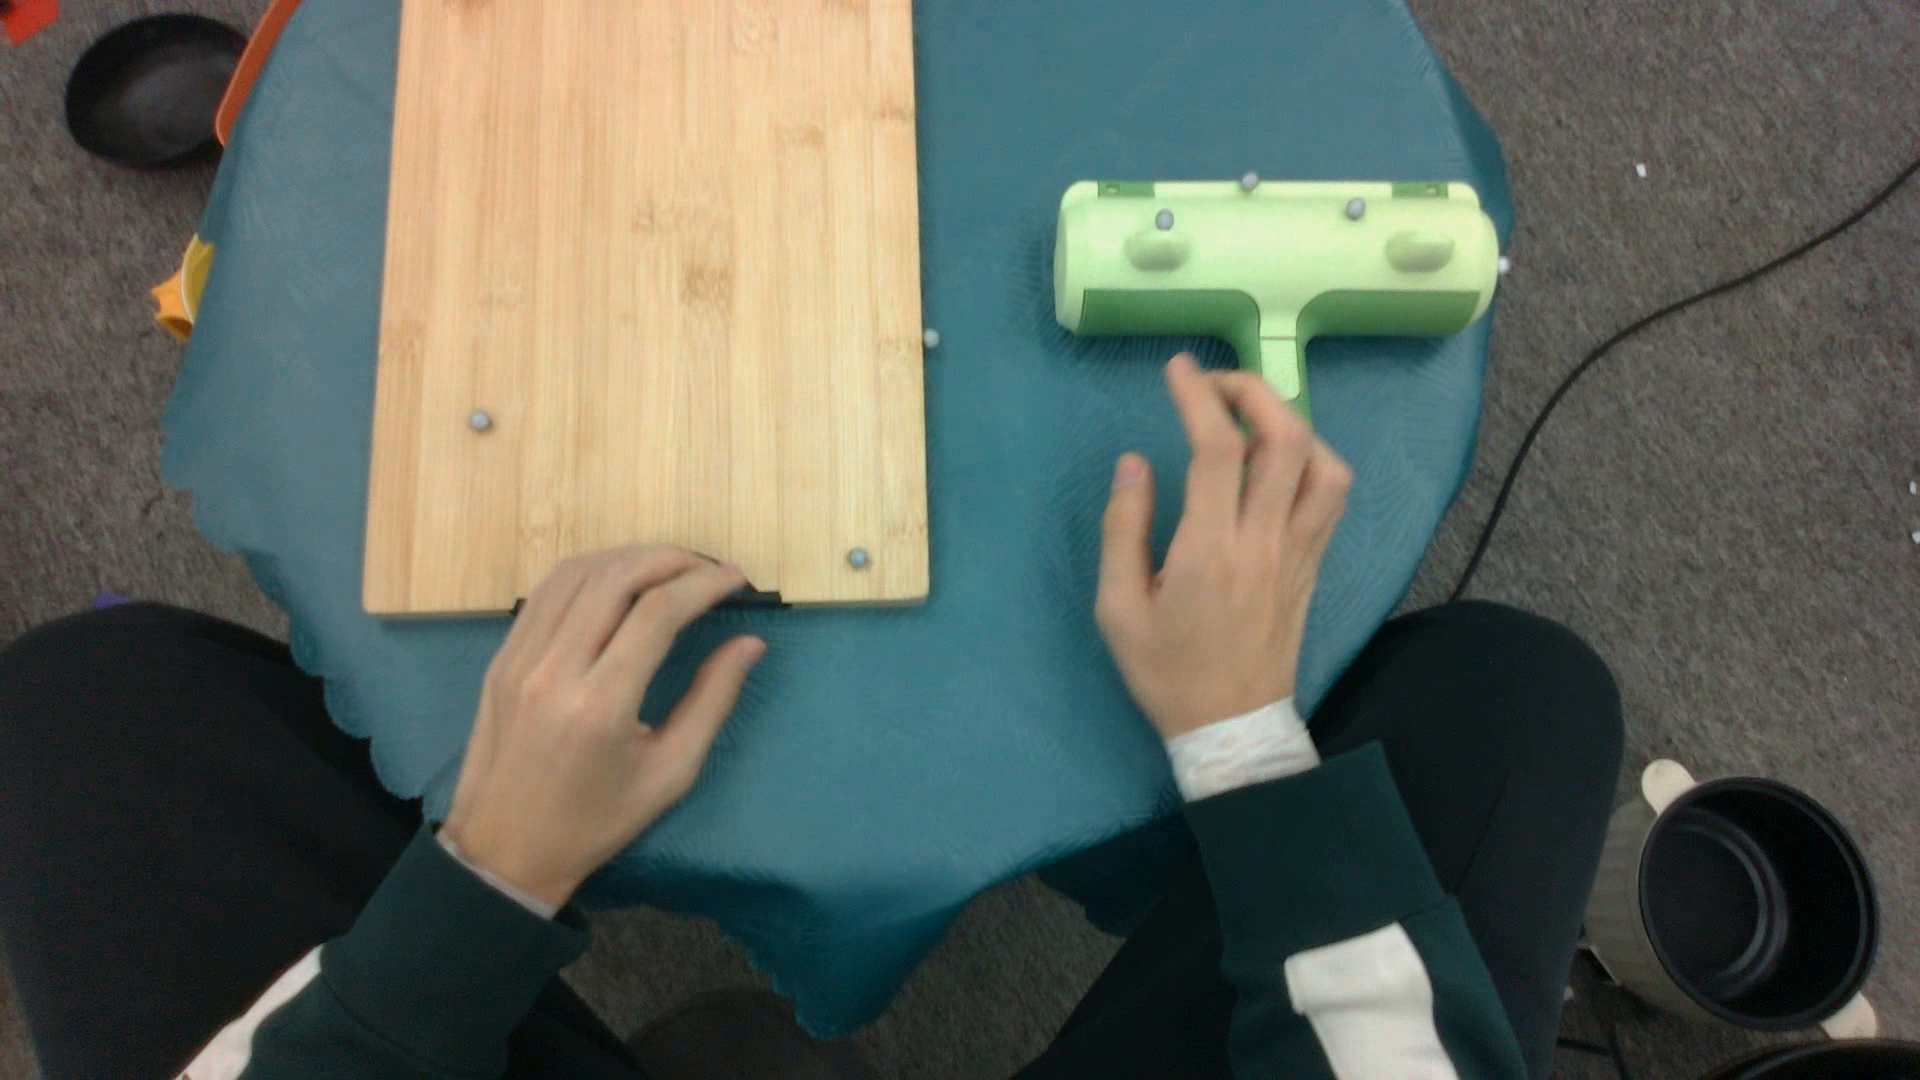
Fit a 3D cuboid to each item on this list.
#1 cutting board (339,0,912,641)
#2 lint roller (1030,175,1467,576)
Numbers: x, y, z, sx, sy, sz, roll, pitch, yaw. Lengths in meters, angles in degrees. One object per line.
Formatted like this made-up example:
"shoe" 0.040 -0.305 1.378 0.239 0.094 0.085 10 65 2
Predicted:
"cutting board" -0.151 -0.130 0.640 0.251 0.023 0.349 -3 76 -5
"lint roller" 0.135 -0.081 0.615 0.199 0.082 0.184 -1 72 -5
